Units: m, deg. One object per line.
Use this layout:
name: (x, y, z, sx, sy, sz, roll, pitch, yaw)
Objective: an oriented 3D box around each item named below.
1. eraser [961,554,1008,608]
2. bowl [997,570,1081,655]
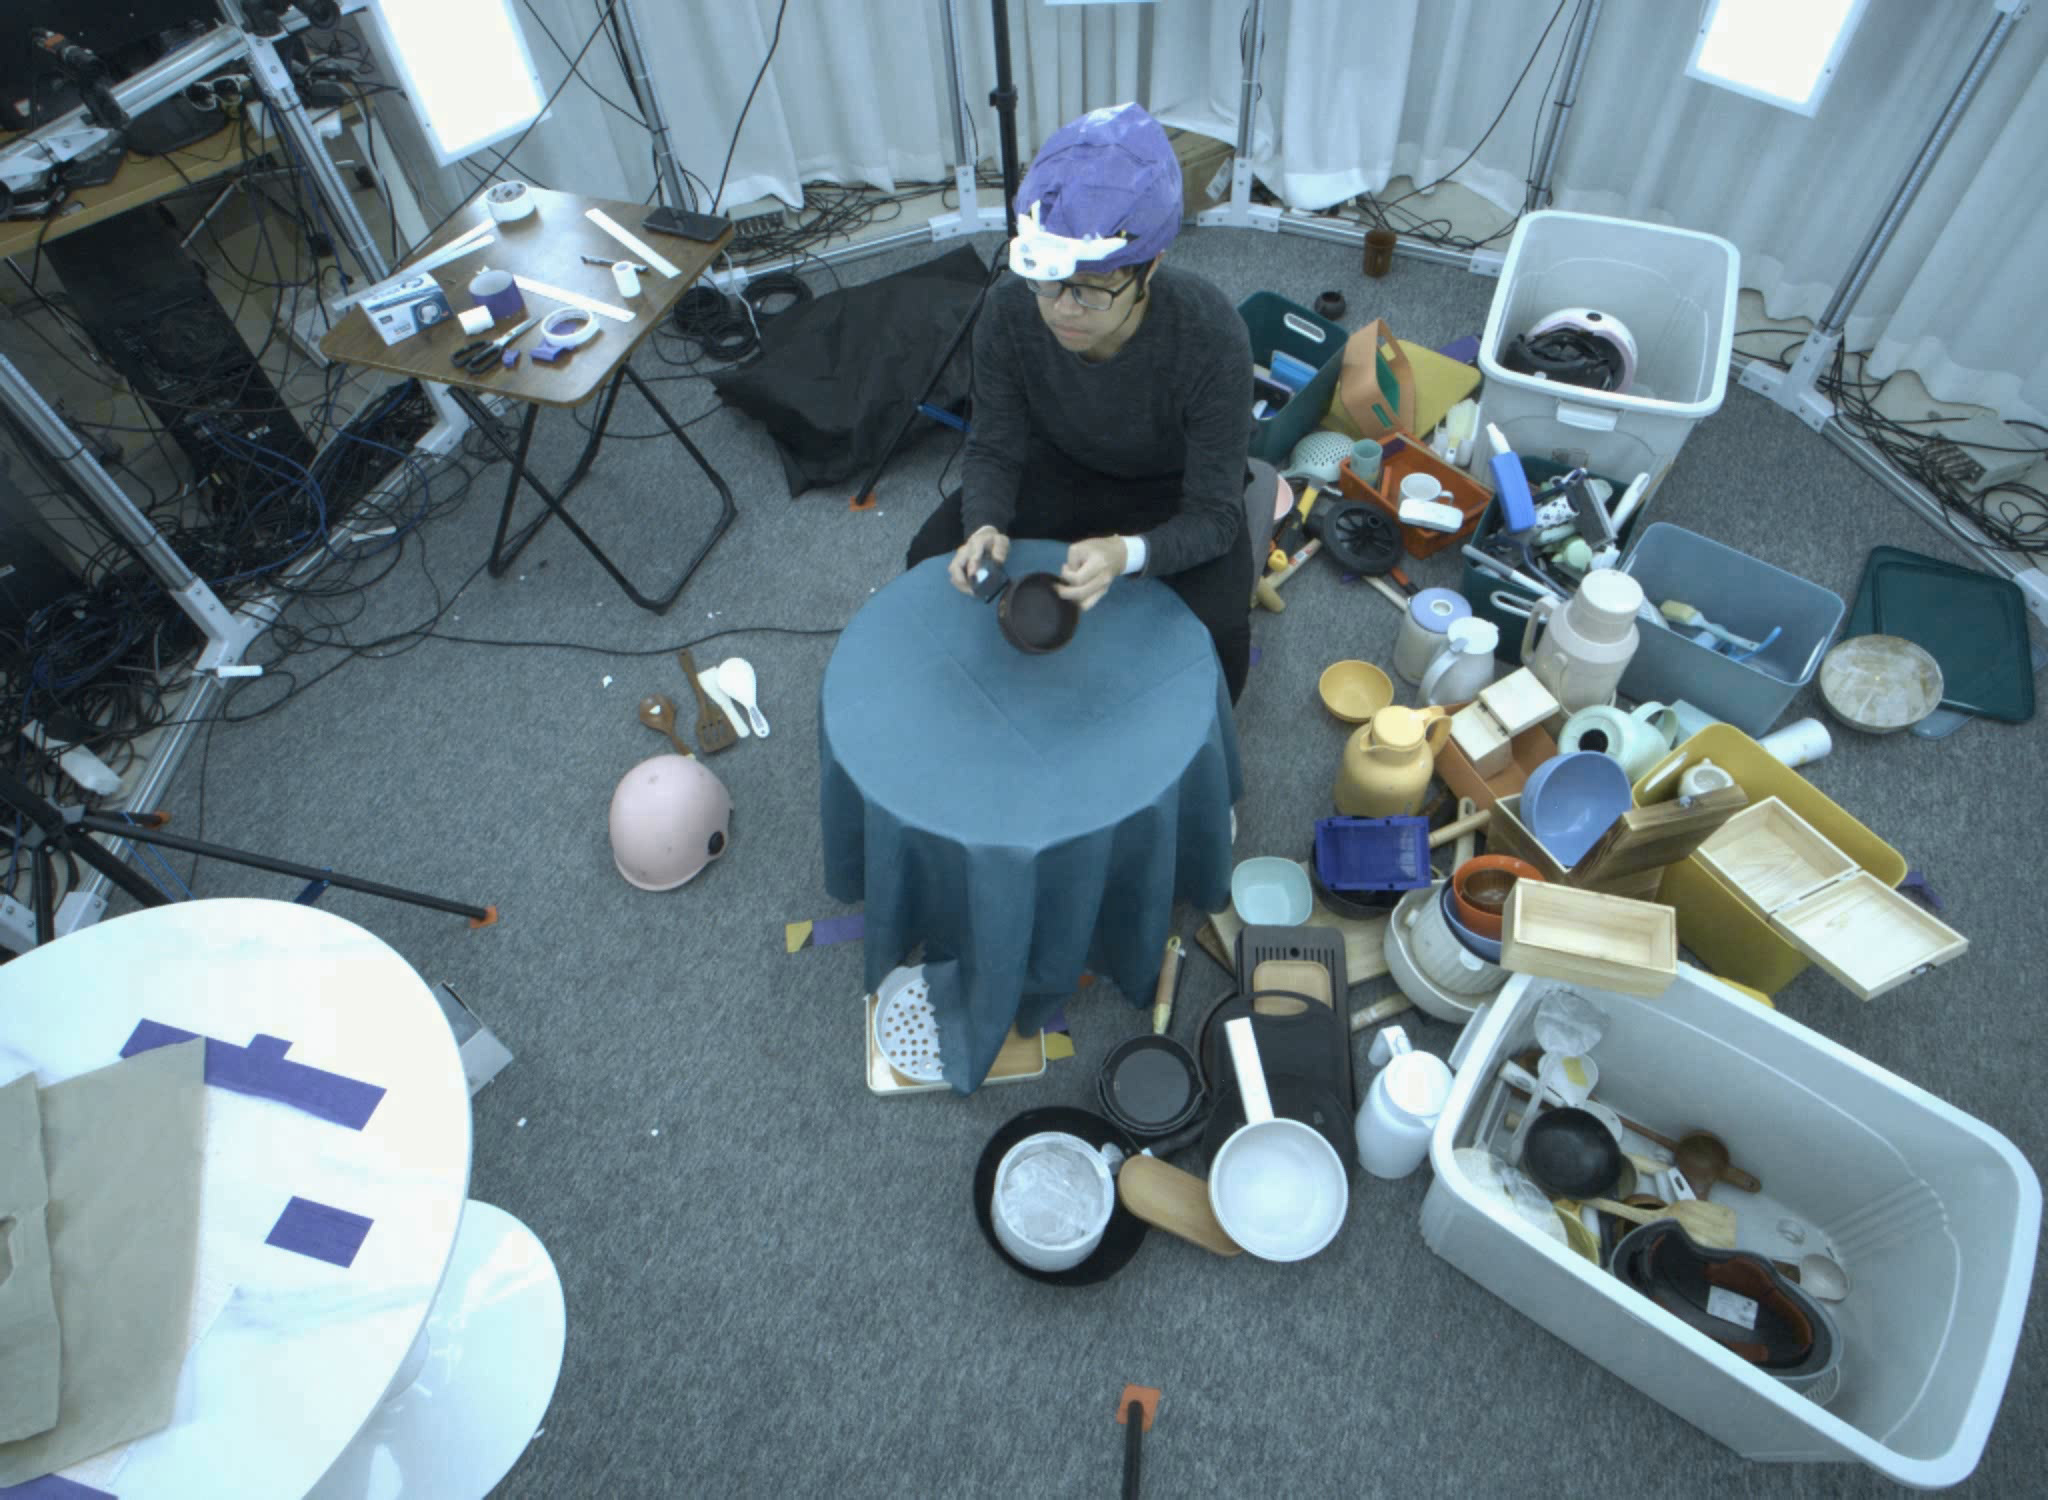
eraser: (-0.058, -0.244, 1.763, 0.053, 0.031, 0.123, -41, 23, 7)
bowl: (0.014, -0.192, 1.736, 0.120, 0.068, 0.118, 1, 88, -26)
